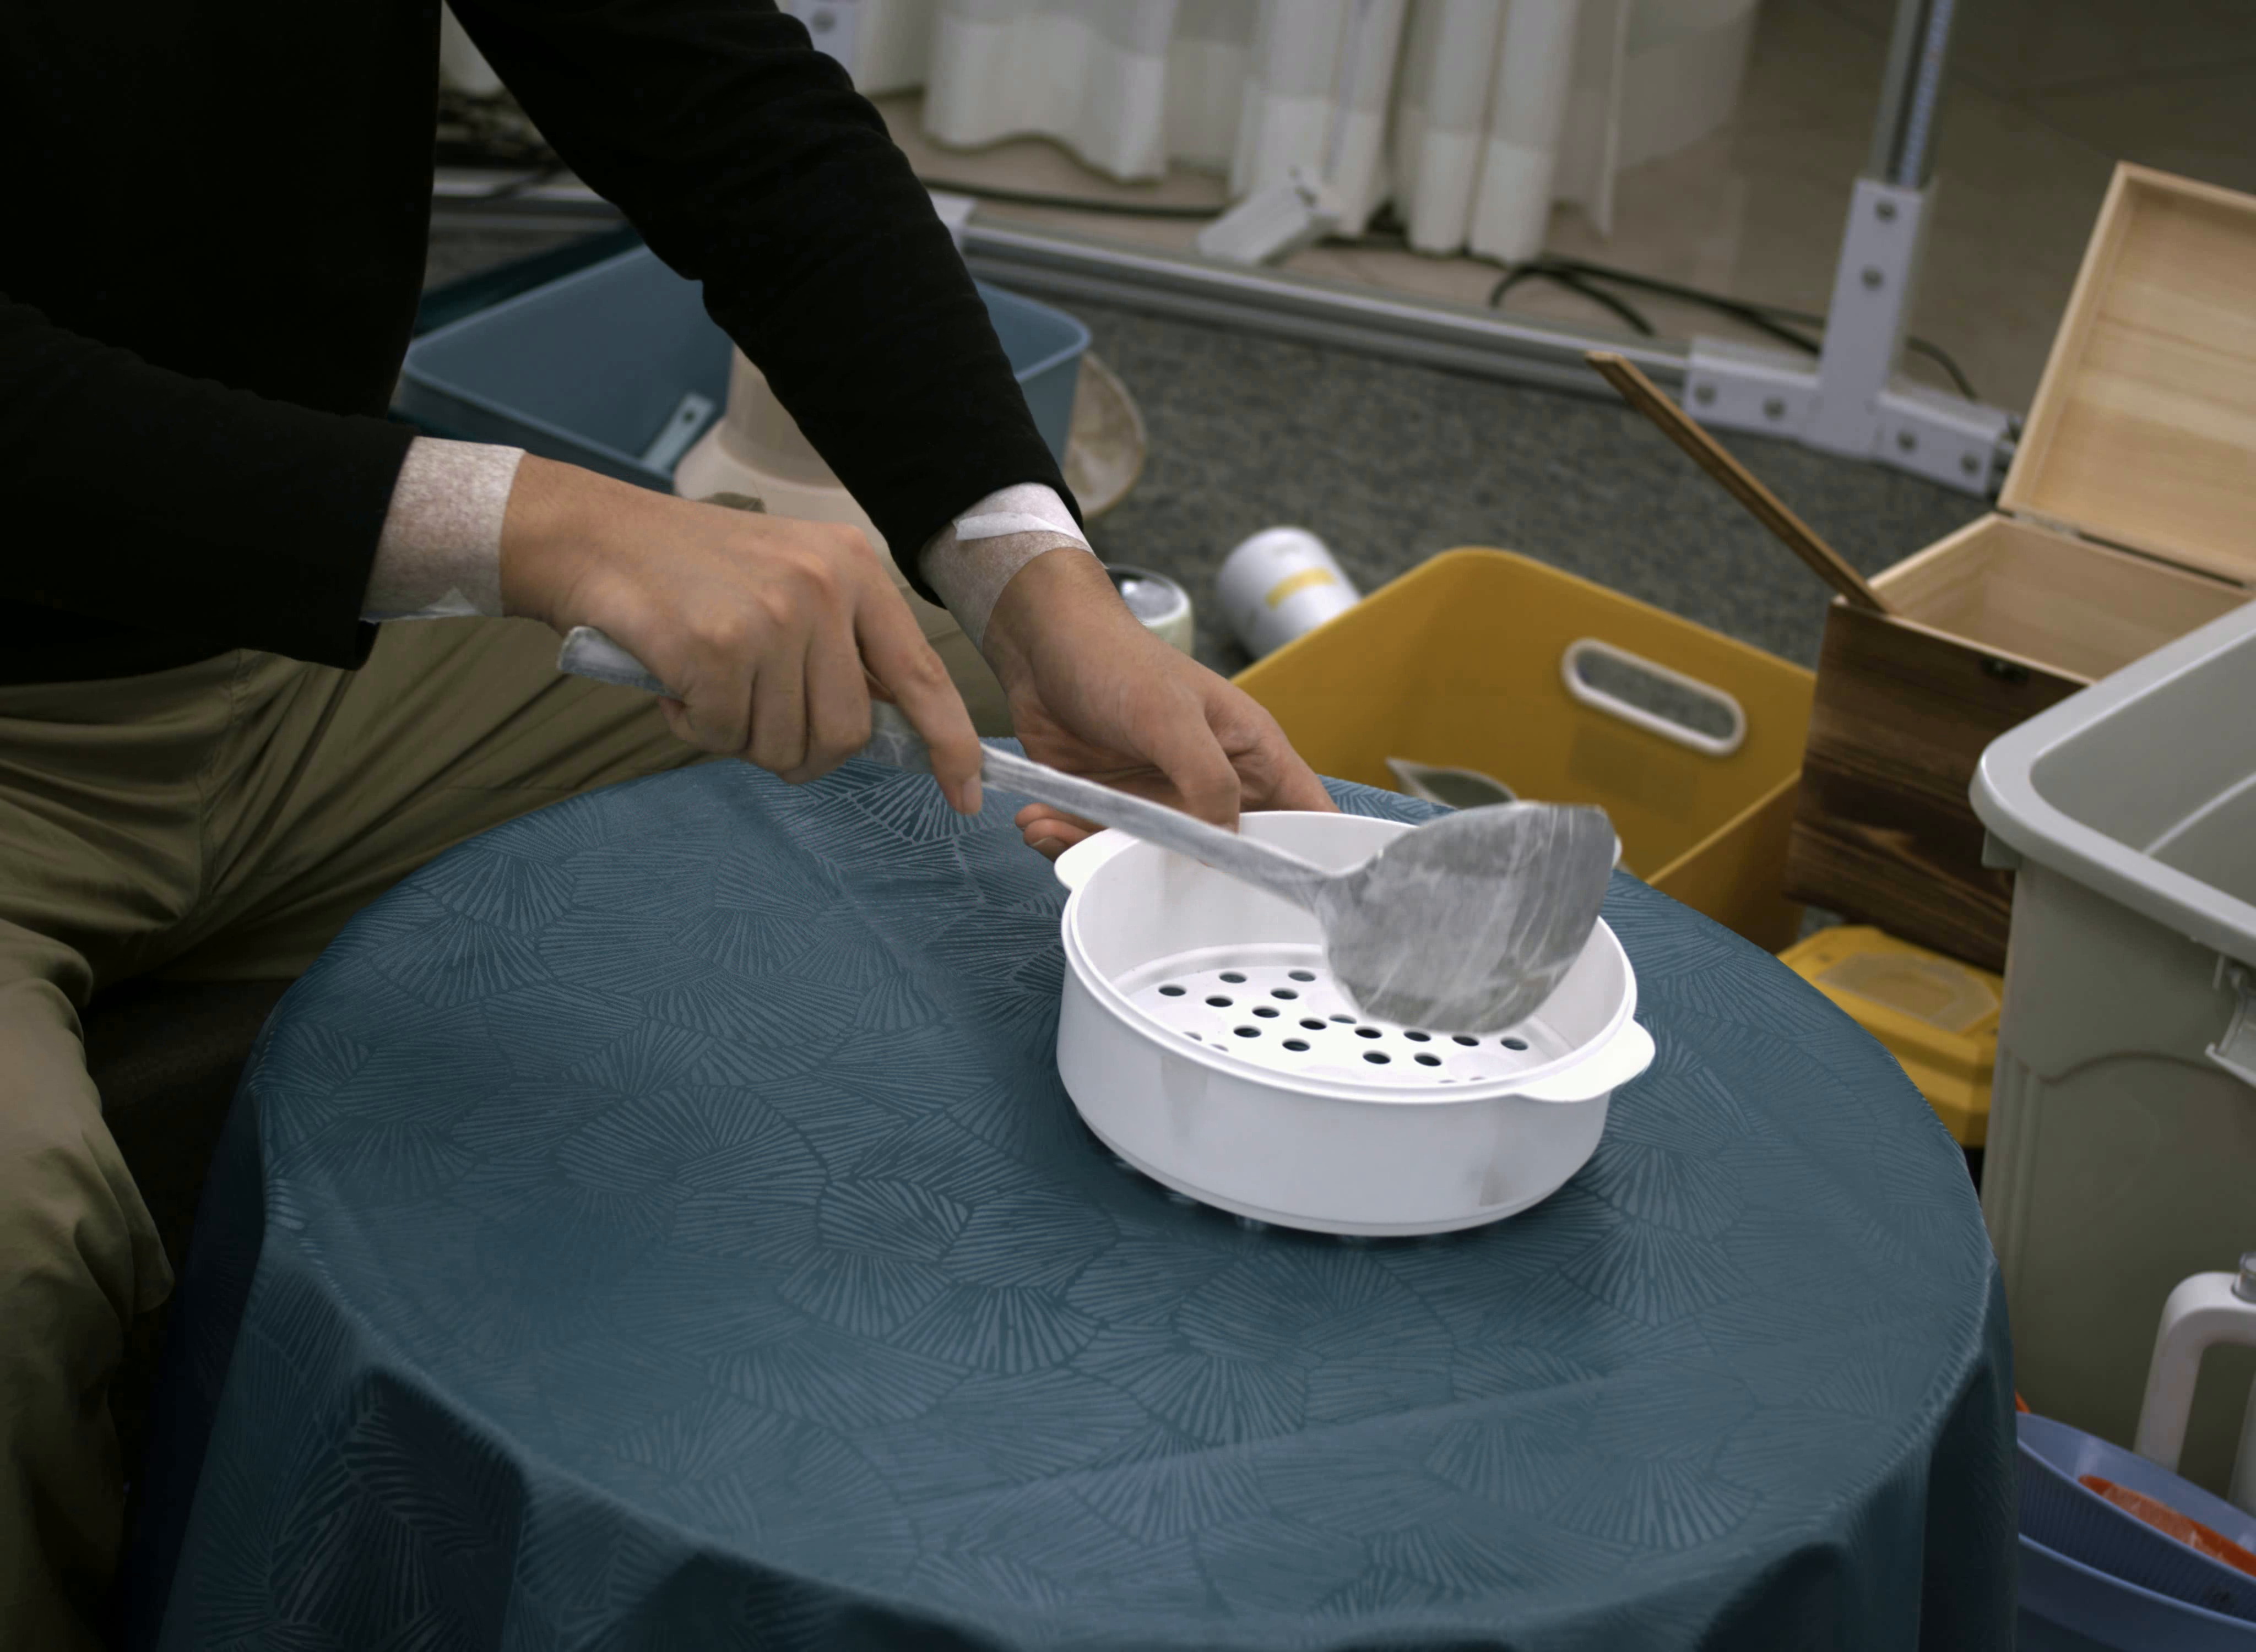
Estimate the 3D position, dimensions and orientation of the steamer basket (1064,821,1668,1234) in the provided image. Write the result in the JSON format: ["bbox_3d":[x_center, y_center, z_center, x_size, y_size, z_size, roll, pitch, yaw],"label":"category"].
[{"bbox_3d":[0.077,0.070,1.847,0.232,0.069,0.201,23,30,32],"label":"steamer basket"}]

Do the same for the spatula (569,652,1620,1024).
[{"bbox_3d":[-0.009,-0.009,1.781,0.363,0.098,0.045,18,30,-10],"label":"spatula"}]
